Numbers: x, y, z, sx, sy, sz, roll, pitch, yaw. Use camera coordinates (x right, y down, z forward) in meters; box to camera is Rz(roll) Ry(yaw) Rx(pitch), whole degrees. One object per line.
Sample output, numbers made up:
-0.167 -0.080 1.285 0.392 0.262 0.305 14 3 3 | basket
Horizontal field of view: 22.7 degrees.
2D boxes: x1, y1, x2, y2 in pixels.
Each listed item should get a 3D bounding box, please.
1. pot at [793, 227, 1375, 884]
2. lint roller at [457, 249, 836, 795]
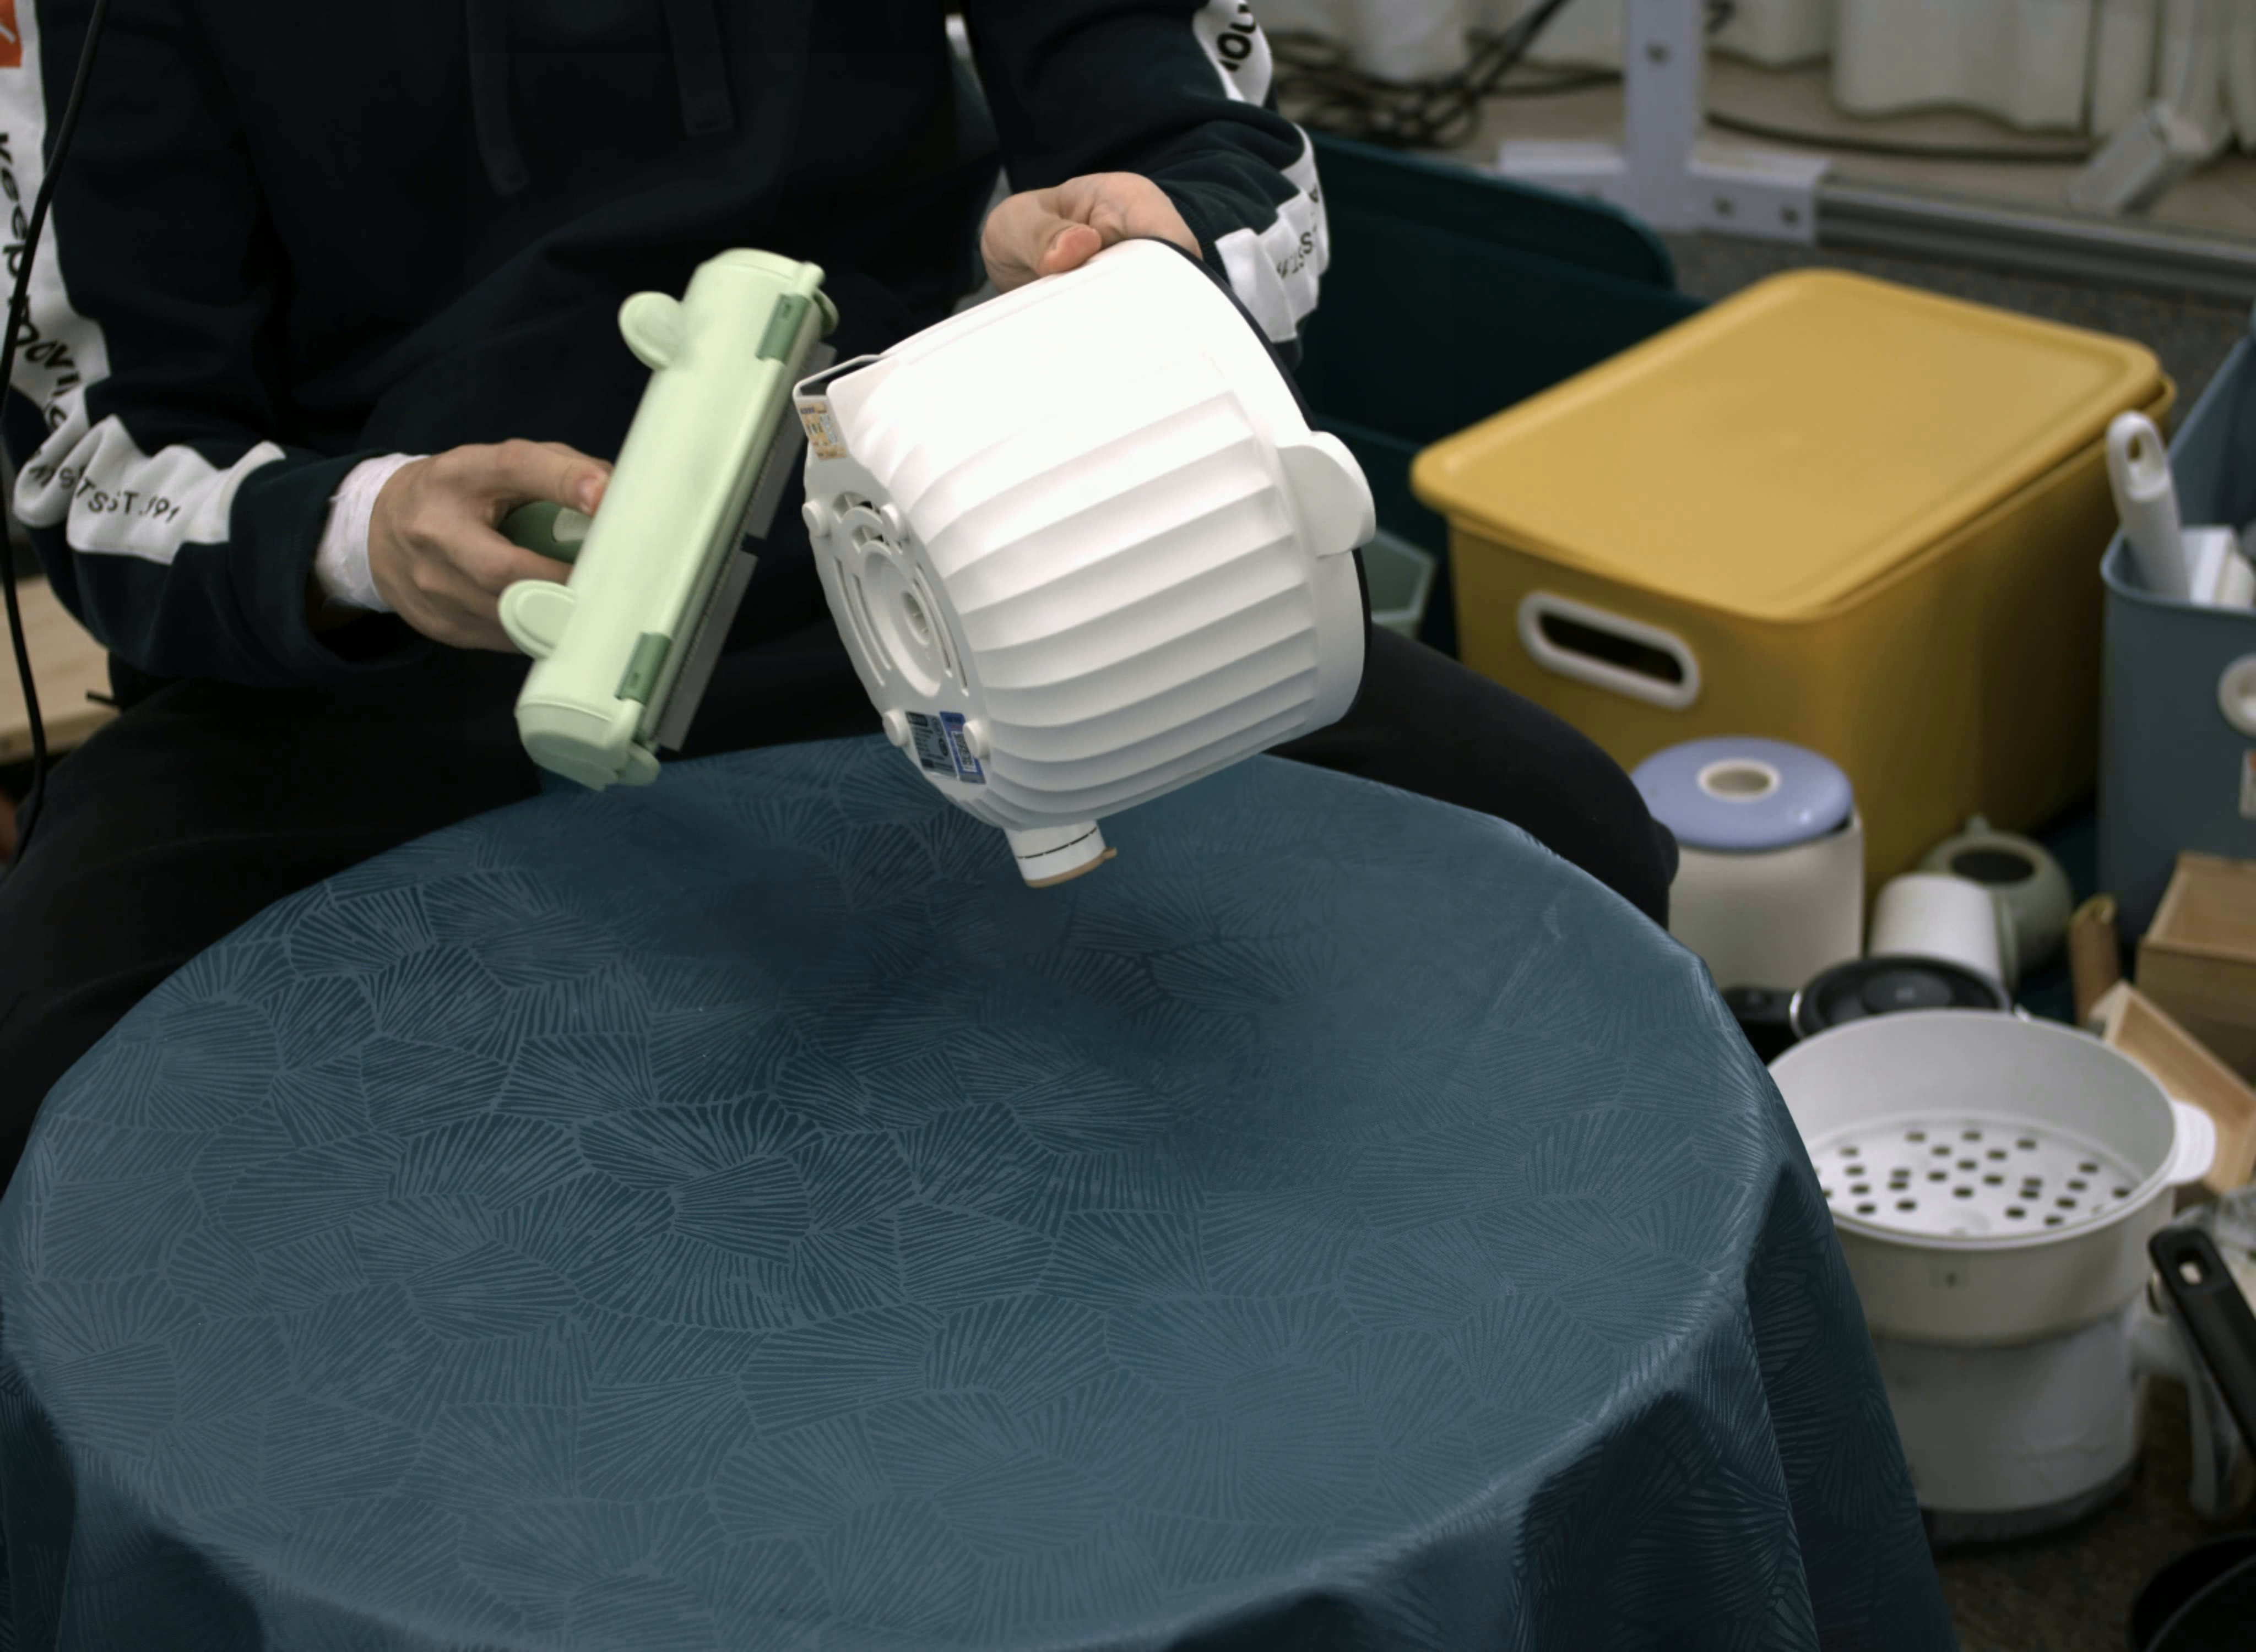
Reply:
-0.021 -0.090 1.916 0.143 0.190 0.239 -27 13 -18 | pot
-0.199 -0.110 2.003 0.181 0.081 0.202 -1 61 44 | lint roller
